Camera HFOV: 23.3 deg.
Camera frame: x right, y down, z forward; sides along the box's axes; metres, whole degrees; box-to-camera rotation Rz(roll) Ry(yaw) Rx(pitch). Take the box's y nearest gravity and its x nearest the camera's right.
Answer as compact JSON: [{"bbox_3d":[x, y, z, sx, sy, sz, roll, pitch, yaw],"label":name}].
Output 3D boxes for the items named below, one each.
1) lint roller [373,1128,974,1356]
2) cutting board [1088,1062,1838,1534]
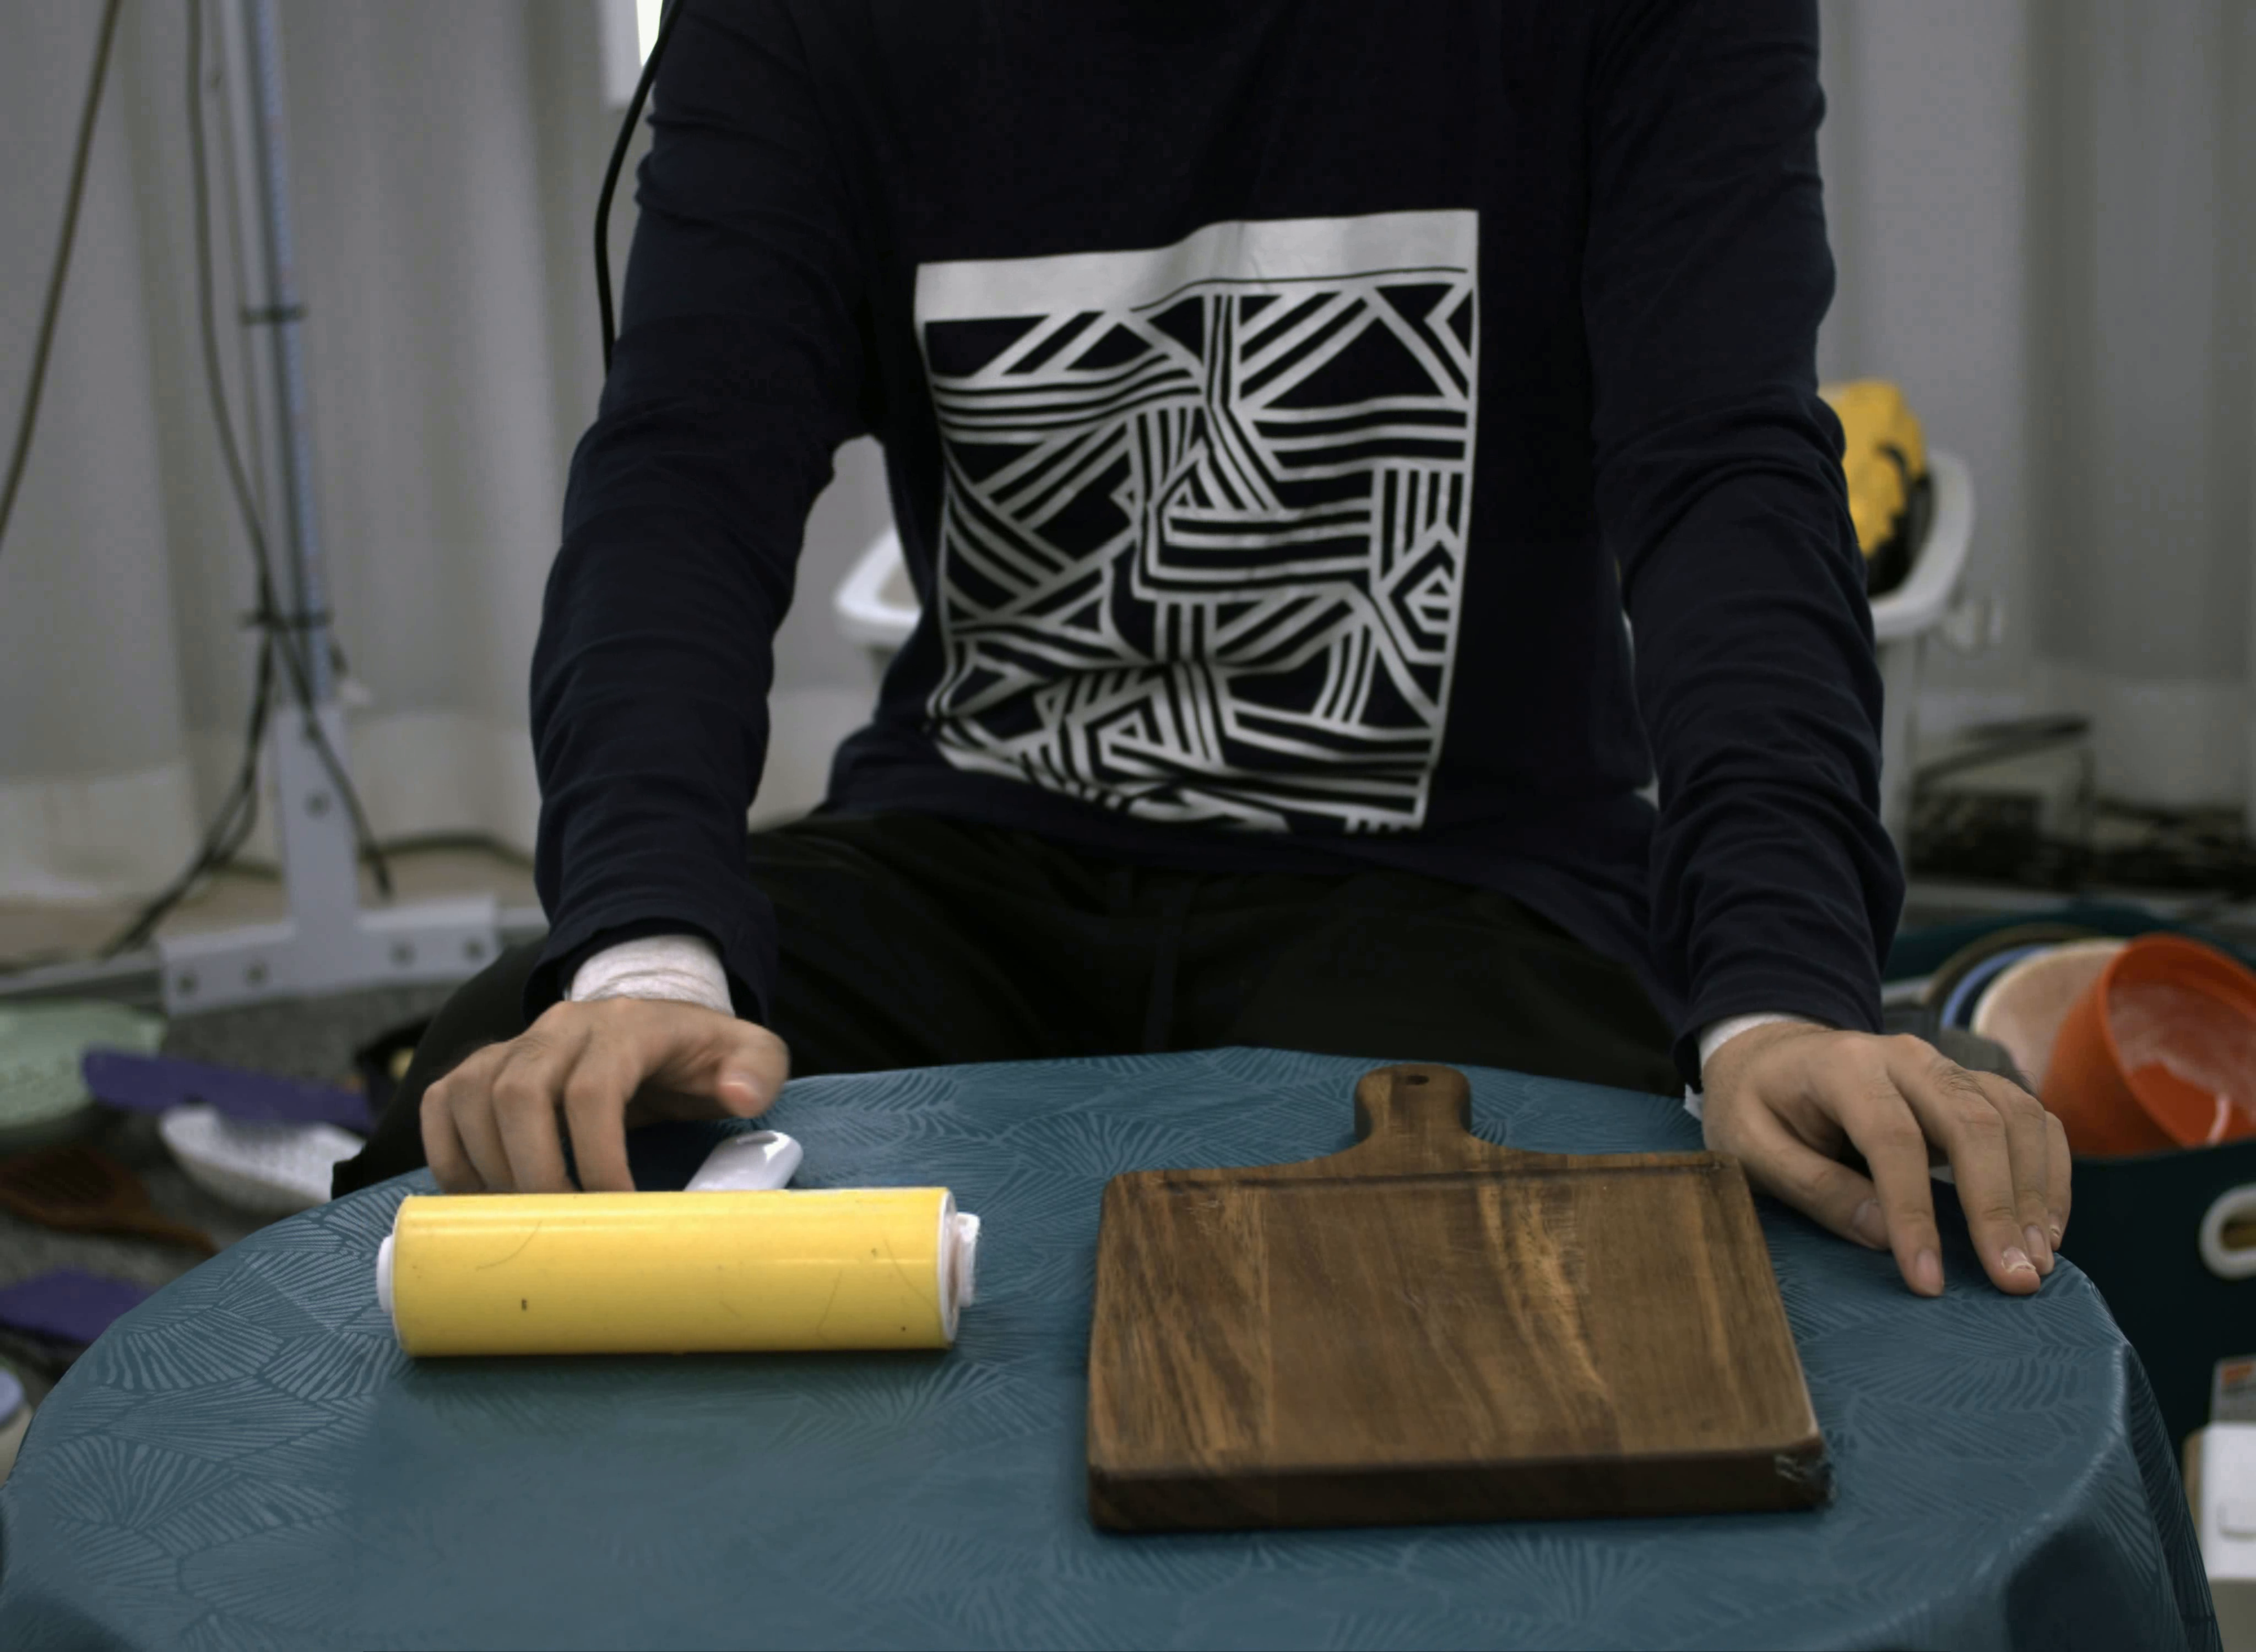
[{"bbox_3d":[-0.129,0.111,1.660,0.174,0.051,0.193,-1,18,3],"label":"lint roller"},{"bbox_3d":[0.089,0.130,1.602,0.200,0.023,0.354,-2,14,1],"label":"cutting board"}]
